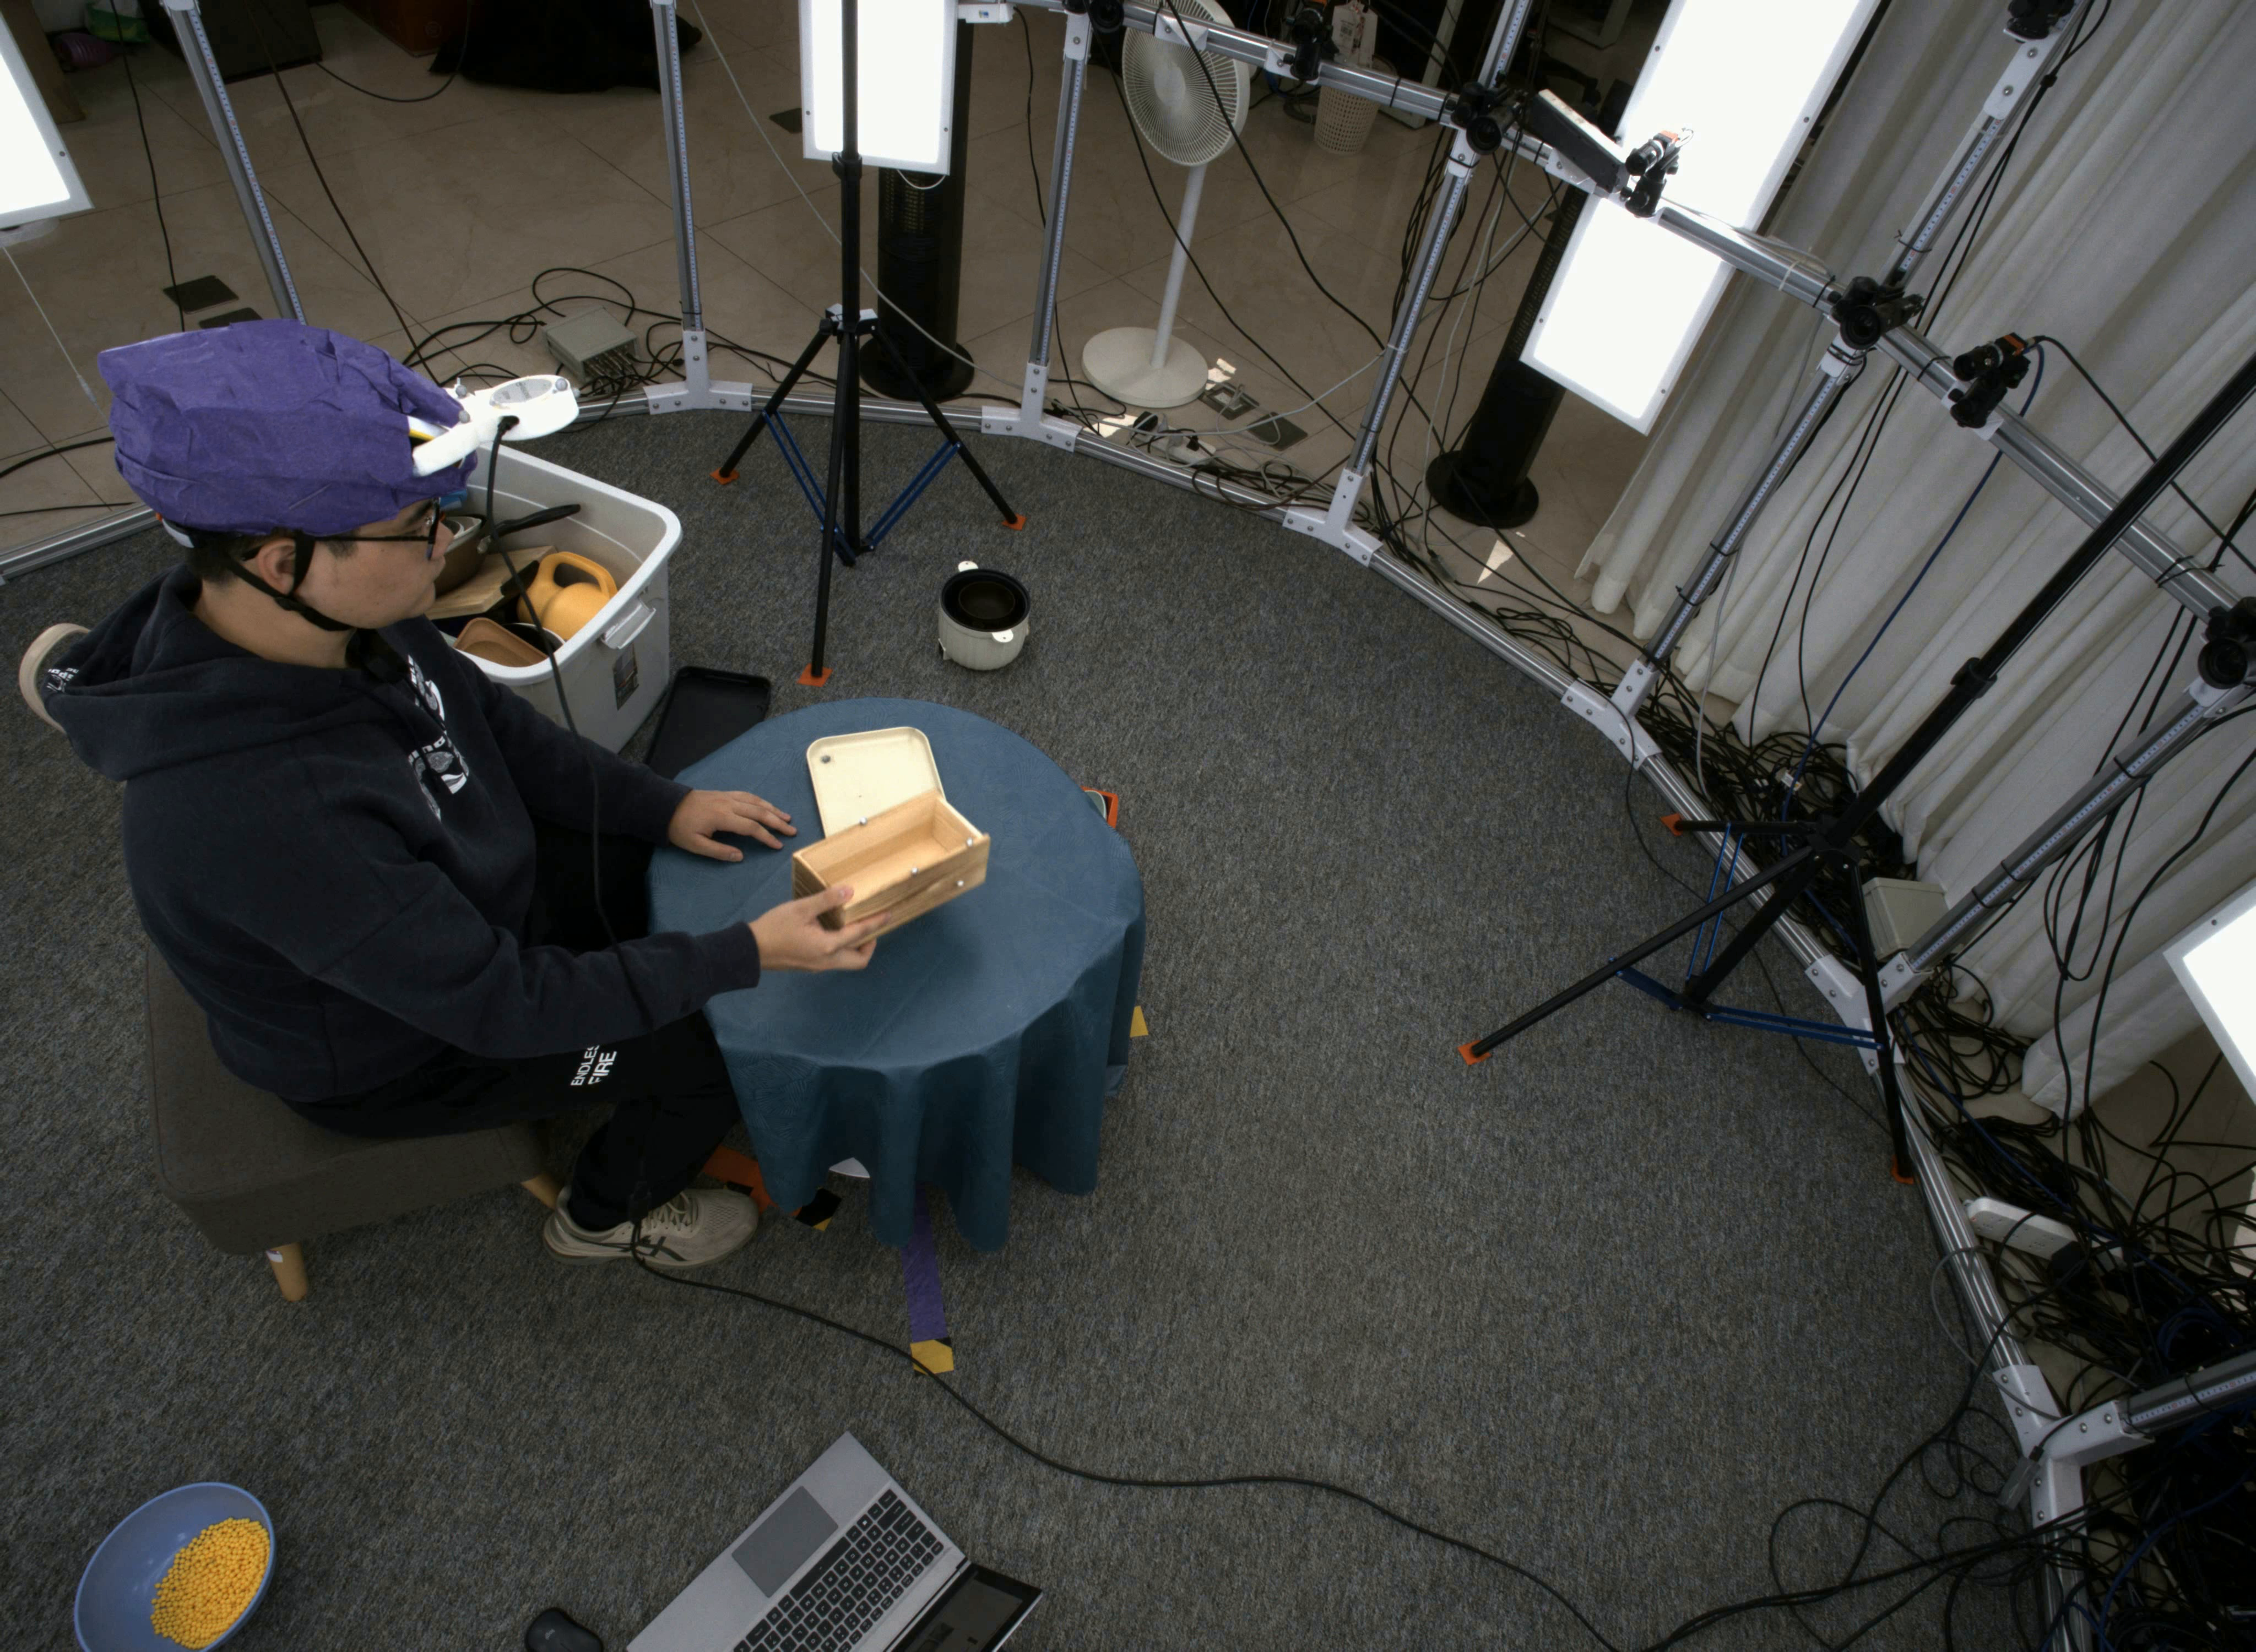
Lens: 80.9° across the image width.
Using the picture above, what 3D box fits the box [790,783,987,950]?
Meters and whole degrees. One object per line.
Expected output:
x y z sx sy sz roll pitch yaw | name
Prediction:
-0.282 0.043 1.544 0.104 0.082 0.212 38 46 25 | box

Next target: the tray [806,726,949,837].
-0.334 -0.035 1.758 0.172 0.018 0.234 -9 57 -20 | tray
